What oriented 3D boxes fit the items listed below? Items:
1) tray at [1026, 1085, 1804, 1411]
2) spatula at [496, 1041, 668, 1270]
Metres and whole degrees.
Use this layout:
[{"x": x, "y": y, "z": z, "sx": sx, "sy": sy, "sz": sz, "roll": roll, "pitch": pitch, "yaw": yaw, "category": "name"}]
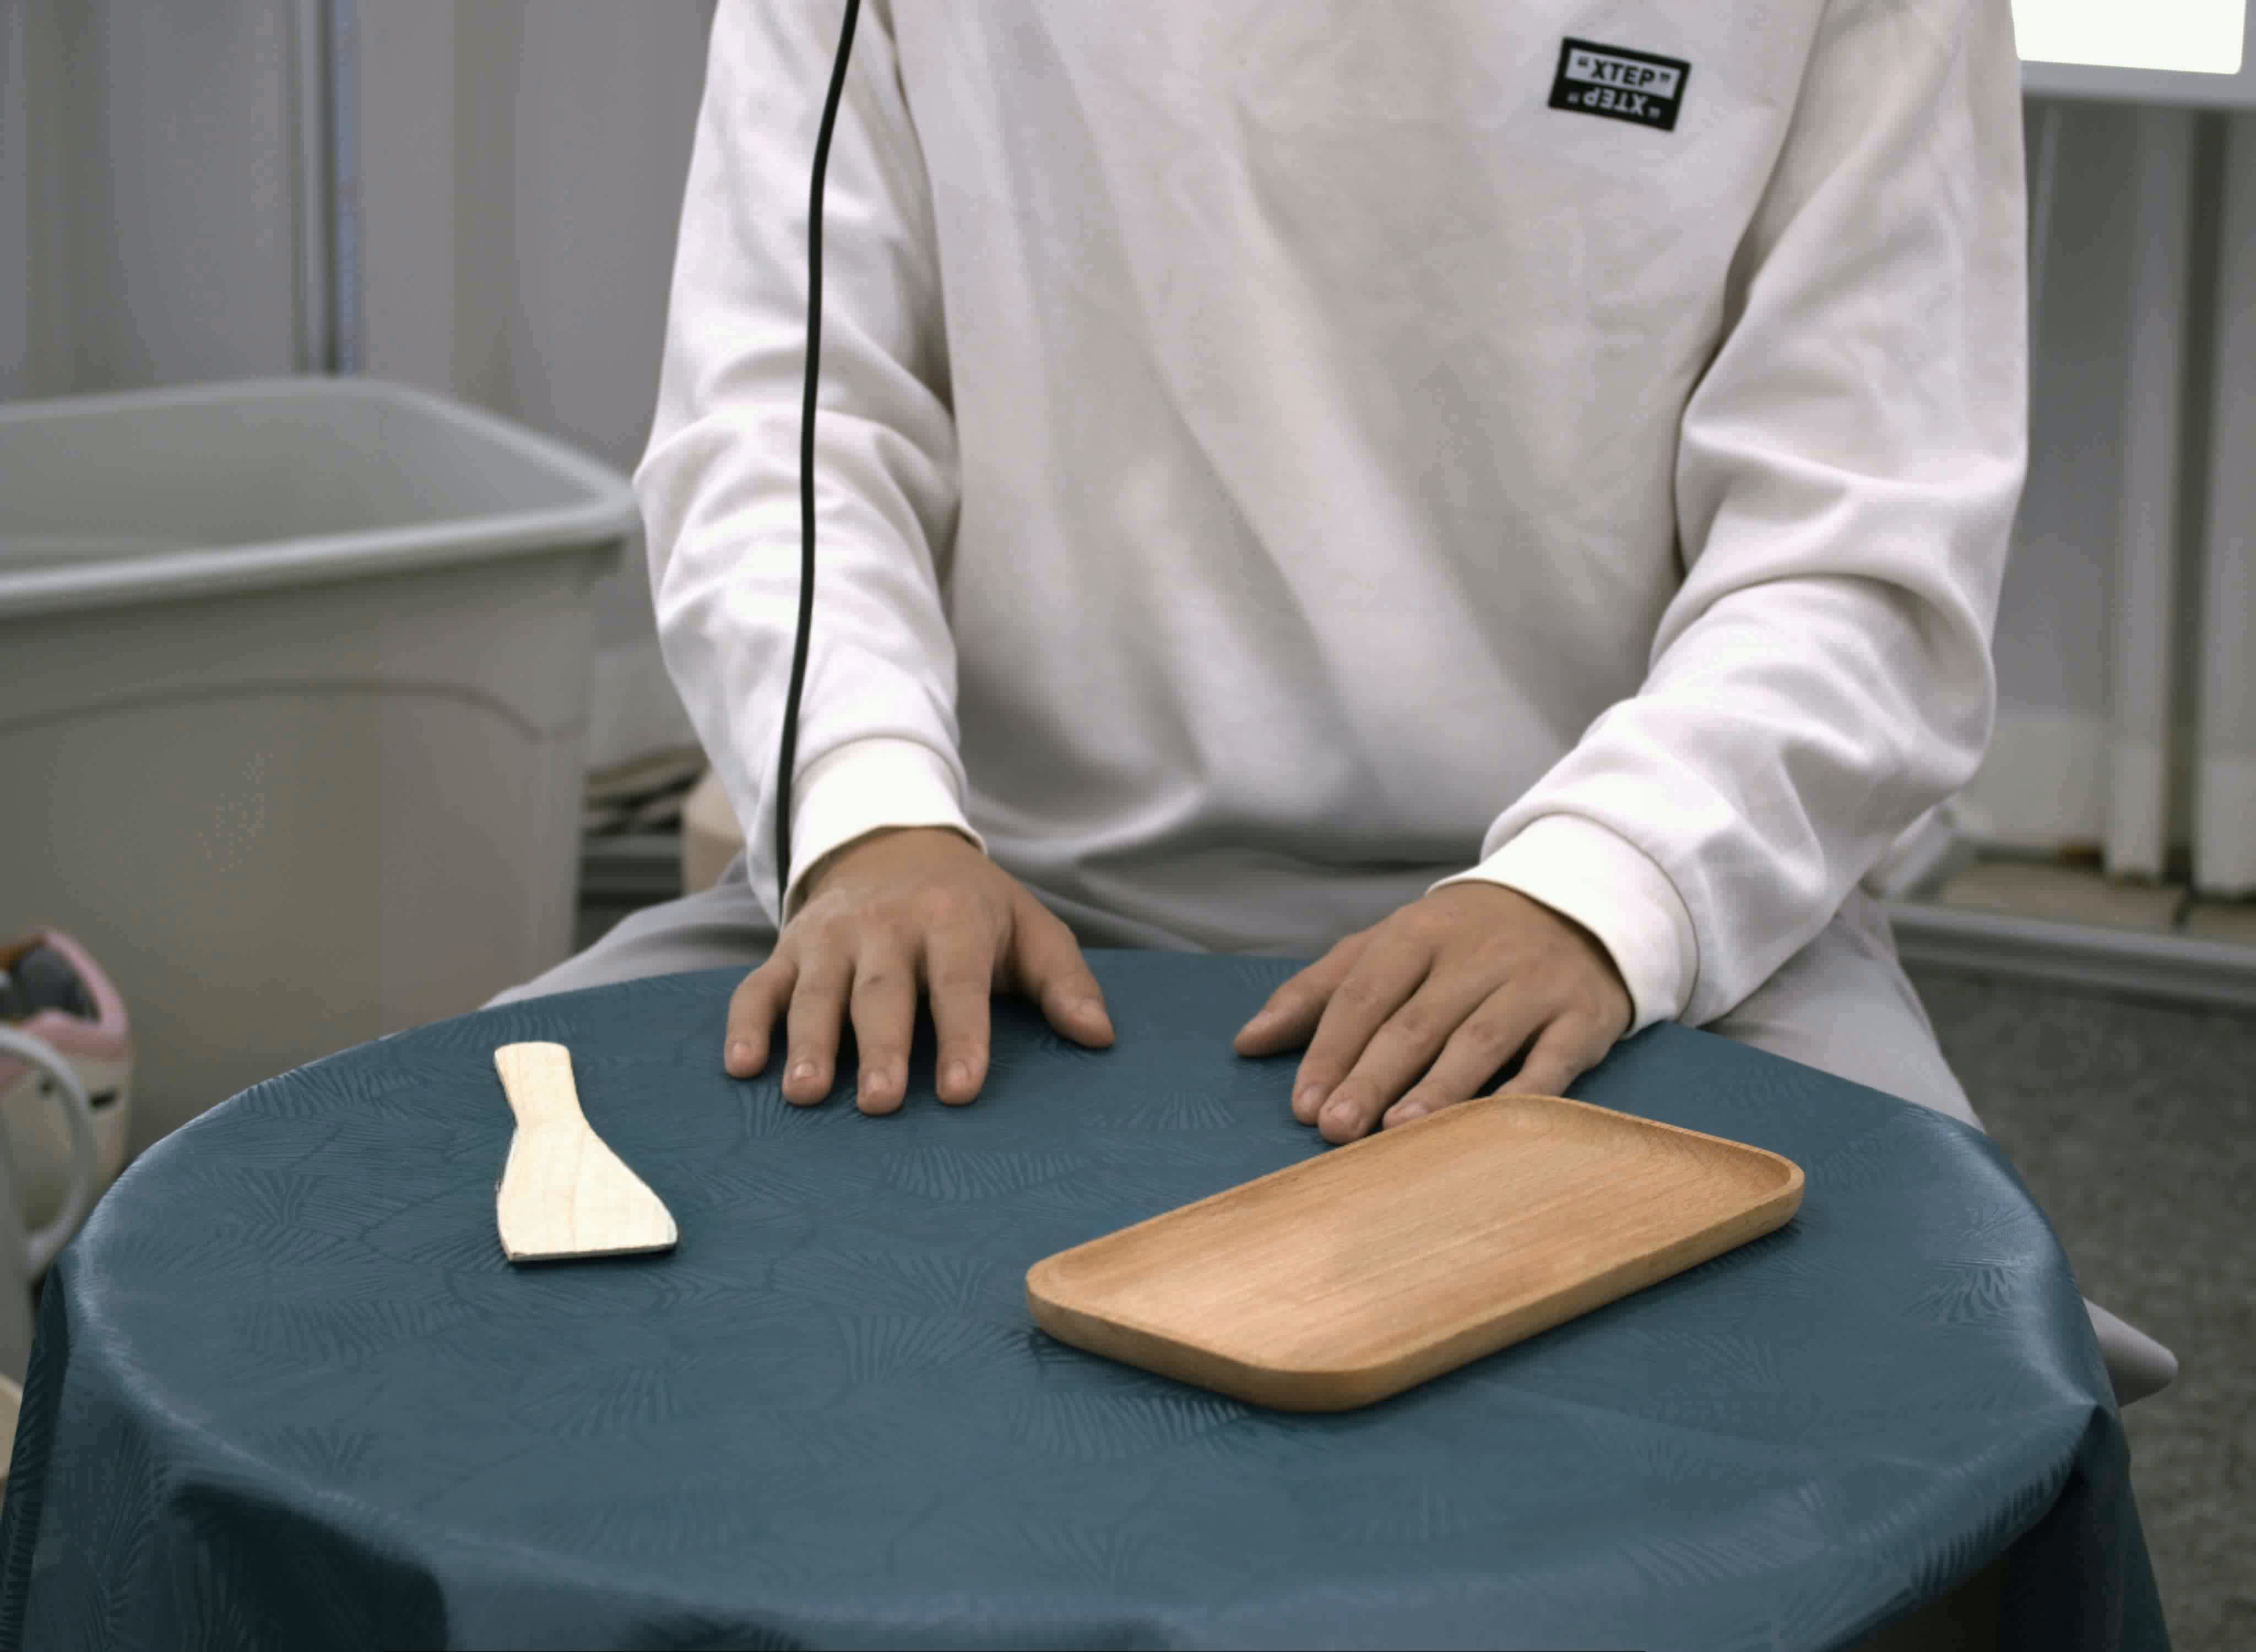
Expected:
[{"x": 0.088, "y": 0.123, "z": 1.563, "sx": 0.129, "sy": 0.023, "sz": 0.252, "roll": 17, "pitch": 22, "yaw": 38, "category": "tray"}, {"x": -0.177, "y": 0.101, "z": 1.647, "sx": 0.050, "sy": 0.005, "sz": 0.206, "roll": -1, "pitch": 16, "yaw": -10, "category": "spatula"}]
